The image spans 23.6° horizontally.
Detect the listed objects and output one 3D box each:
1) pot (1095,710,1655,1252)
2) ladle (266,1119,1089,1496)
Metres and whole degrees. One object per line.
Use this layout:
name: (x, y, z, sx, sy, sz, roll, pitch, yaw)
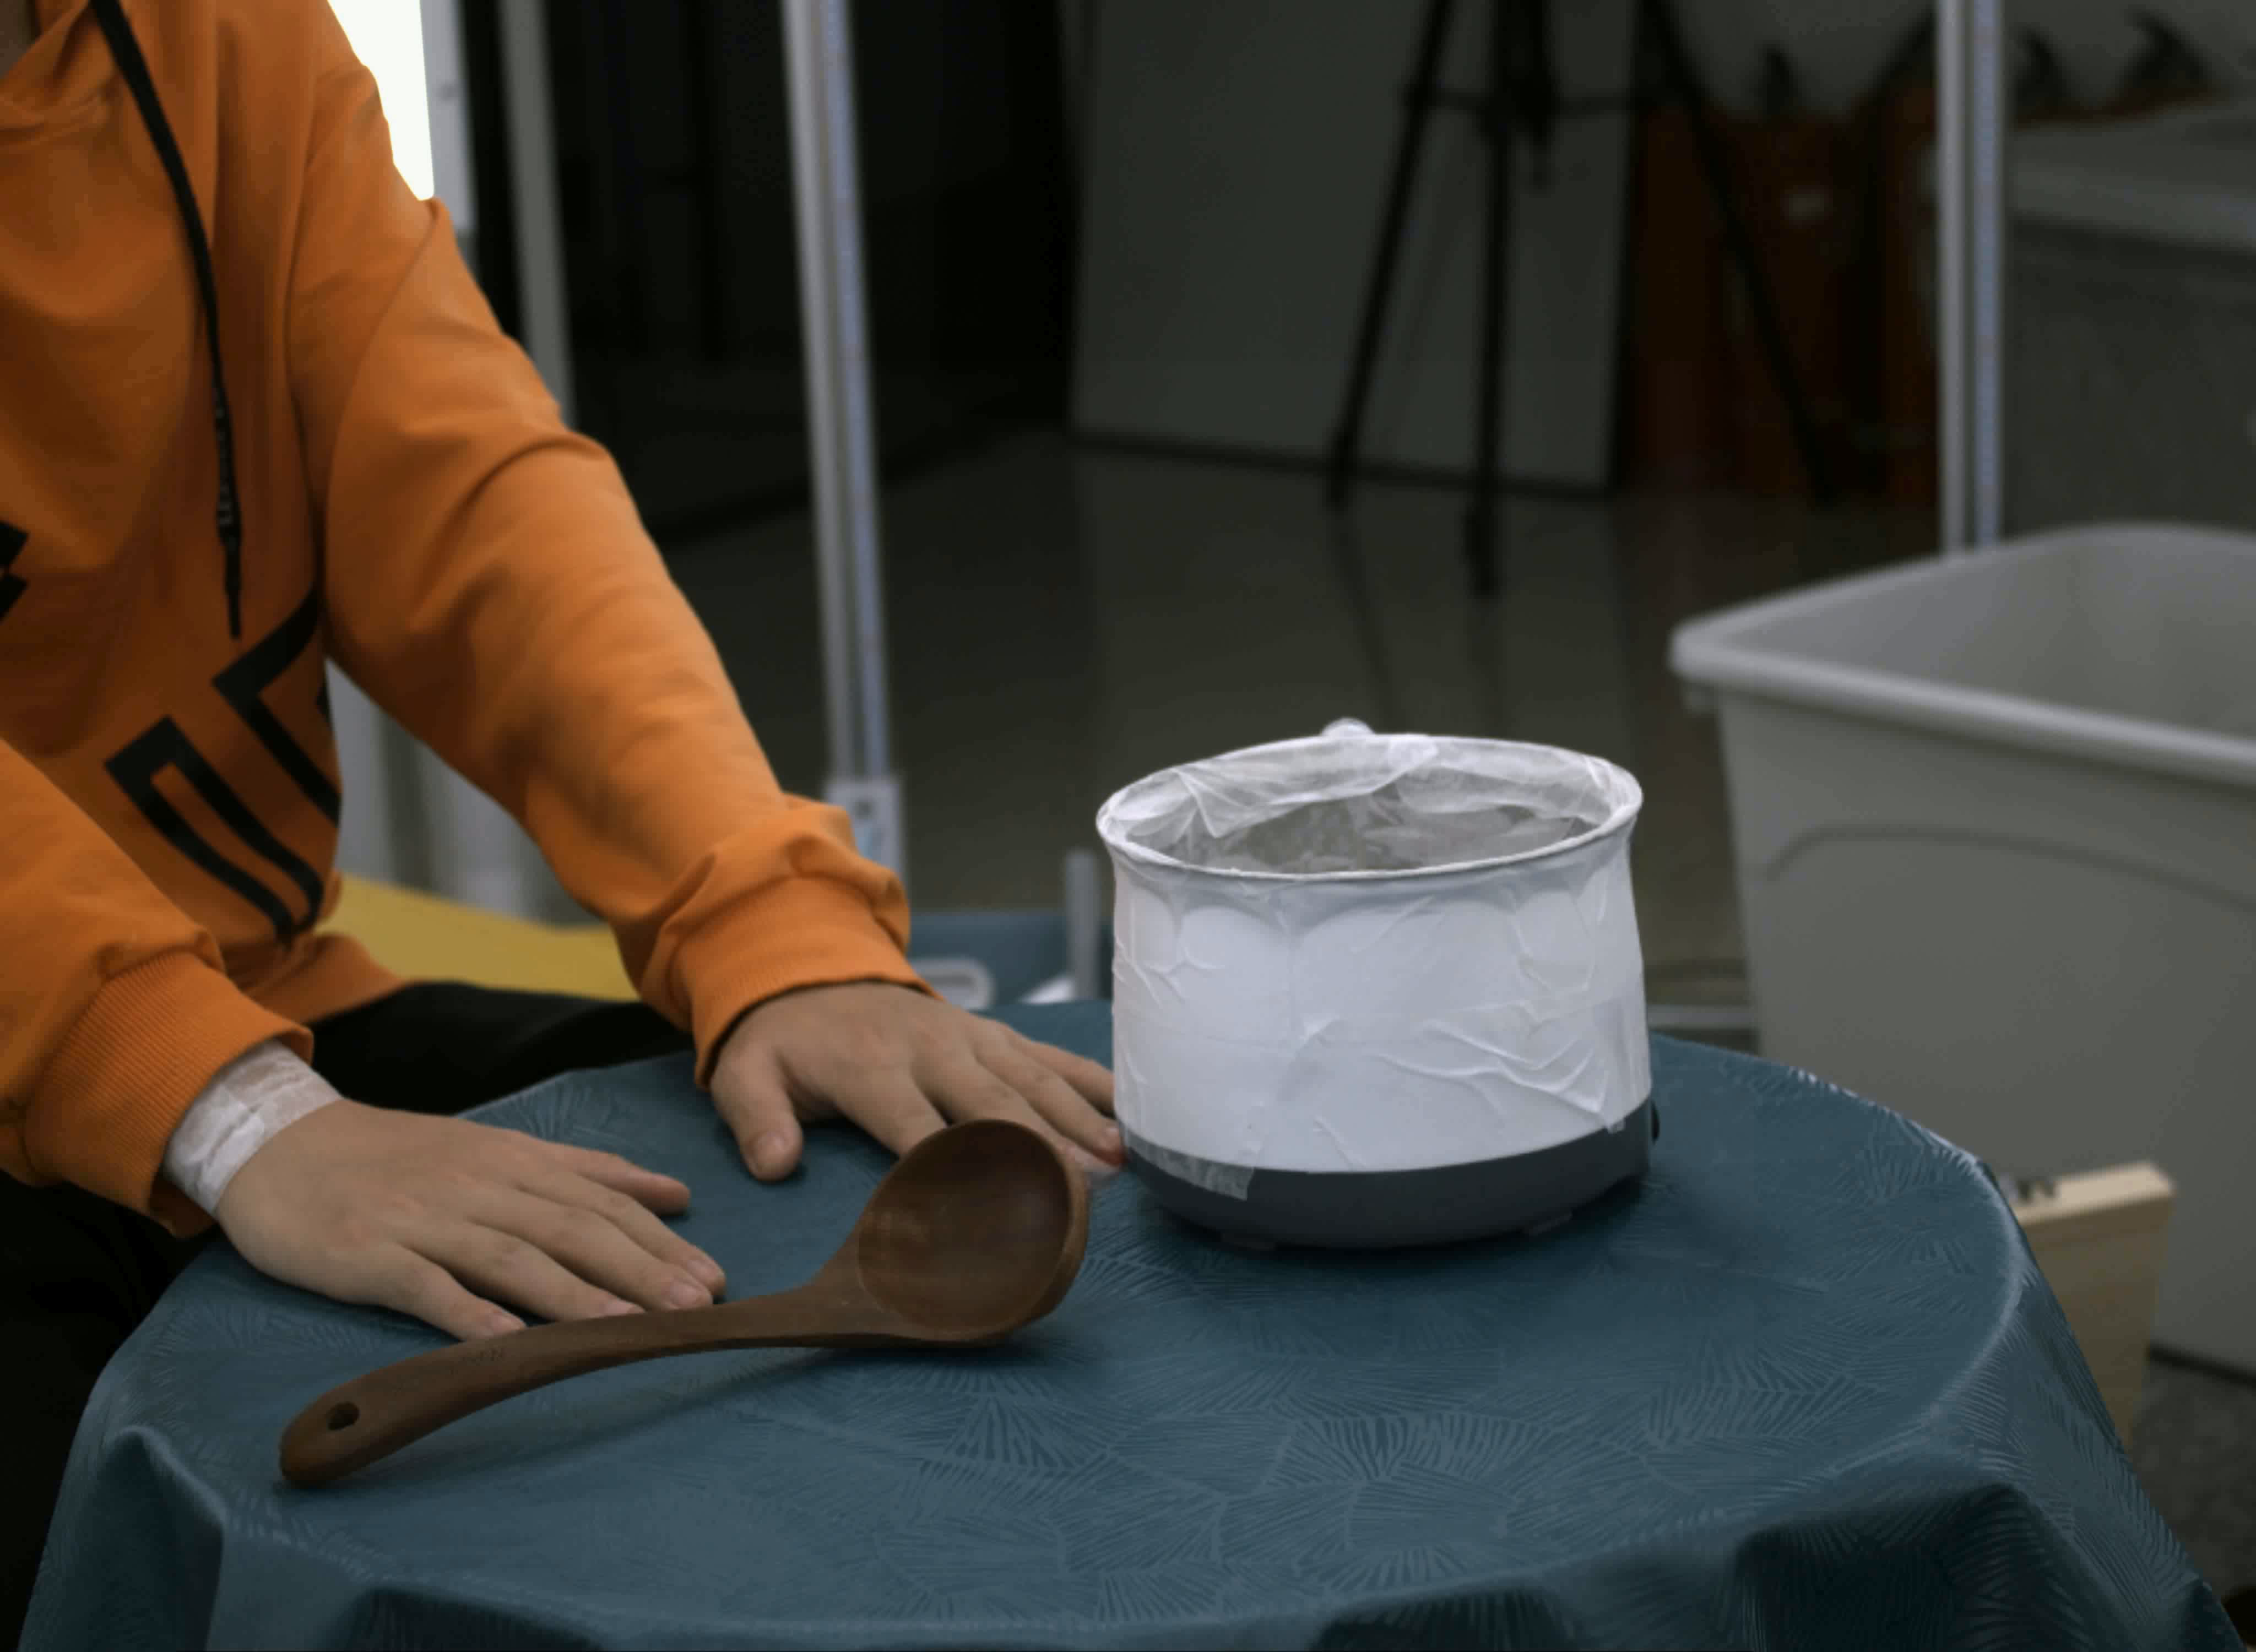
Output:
pot: (0.079, 0.046, 1.762, 0.176, 0.138, 0.234, -4, 14, -2)
ladle: (-0.130, 0.143, 1.596, 0.254, 0.066, 0.077, -10, 40, -26)
